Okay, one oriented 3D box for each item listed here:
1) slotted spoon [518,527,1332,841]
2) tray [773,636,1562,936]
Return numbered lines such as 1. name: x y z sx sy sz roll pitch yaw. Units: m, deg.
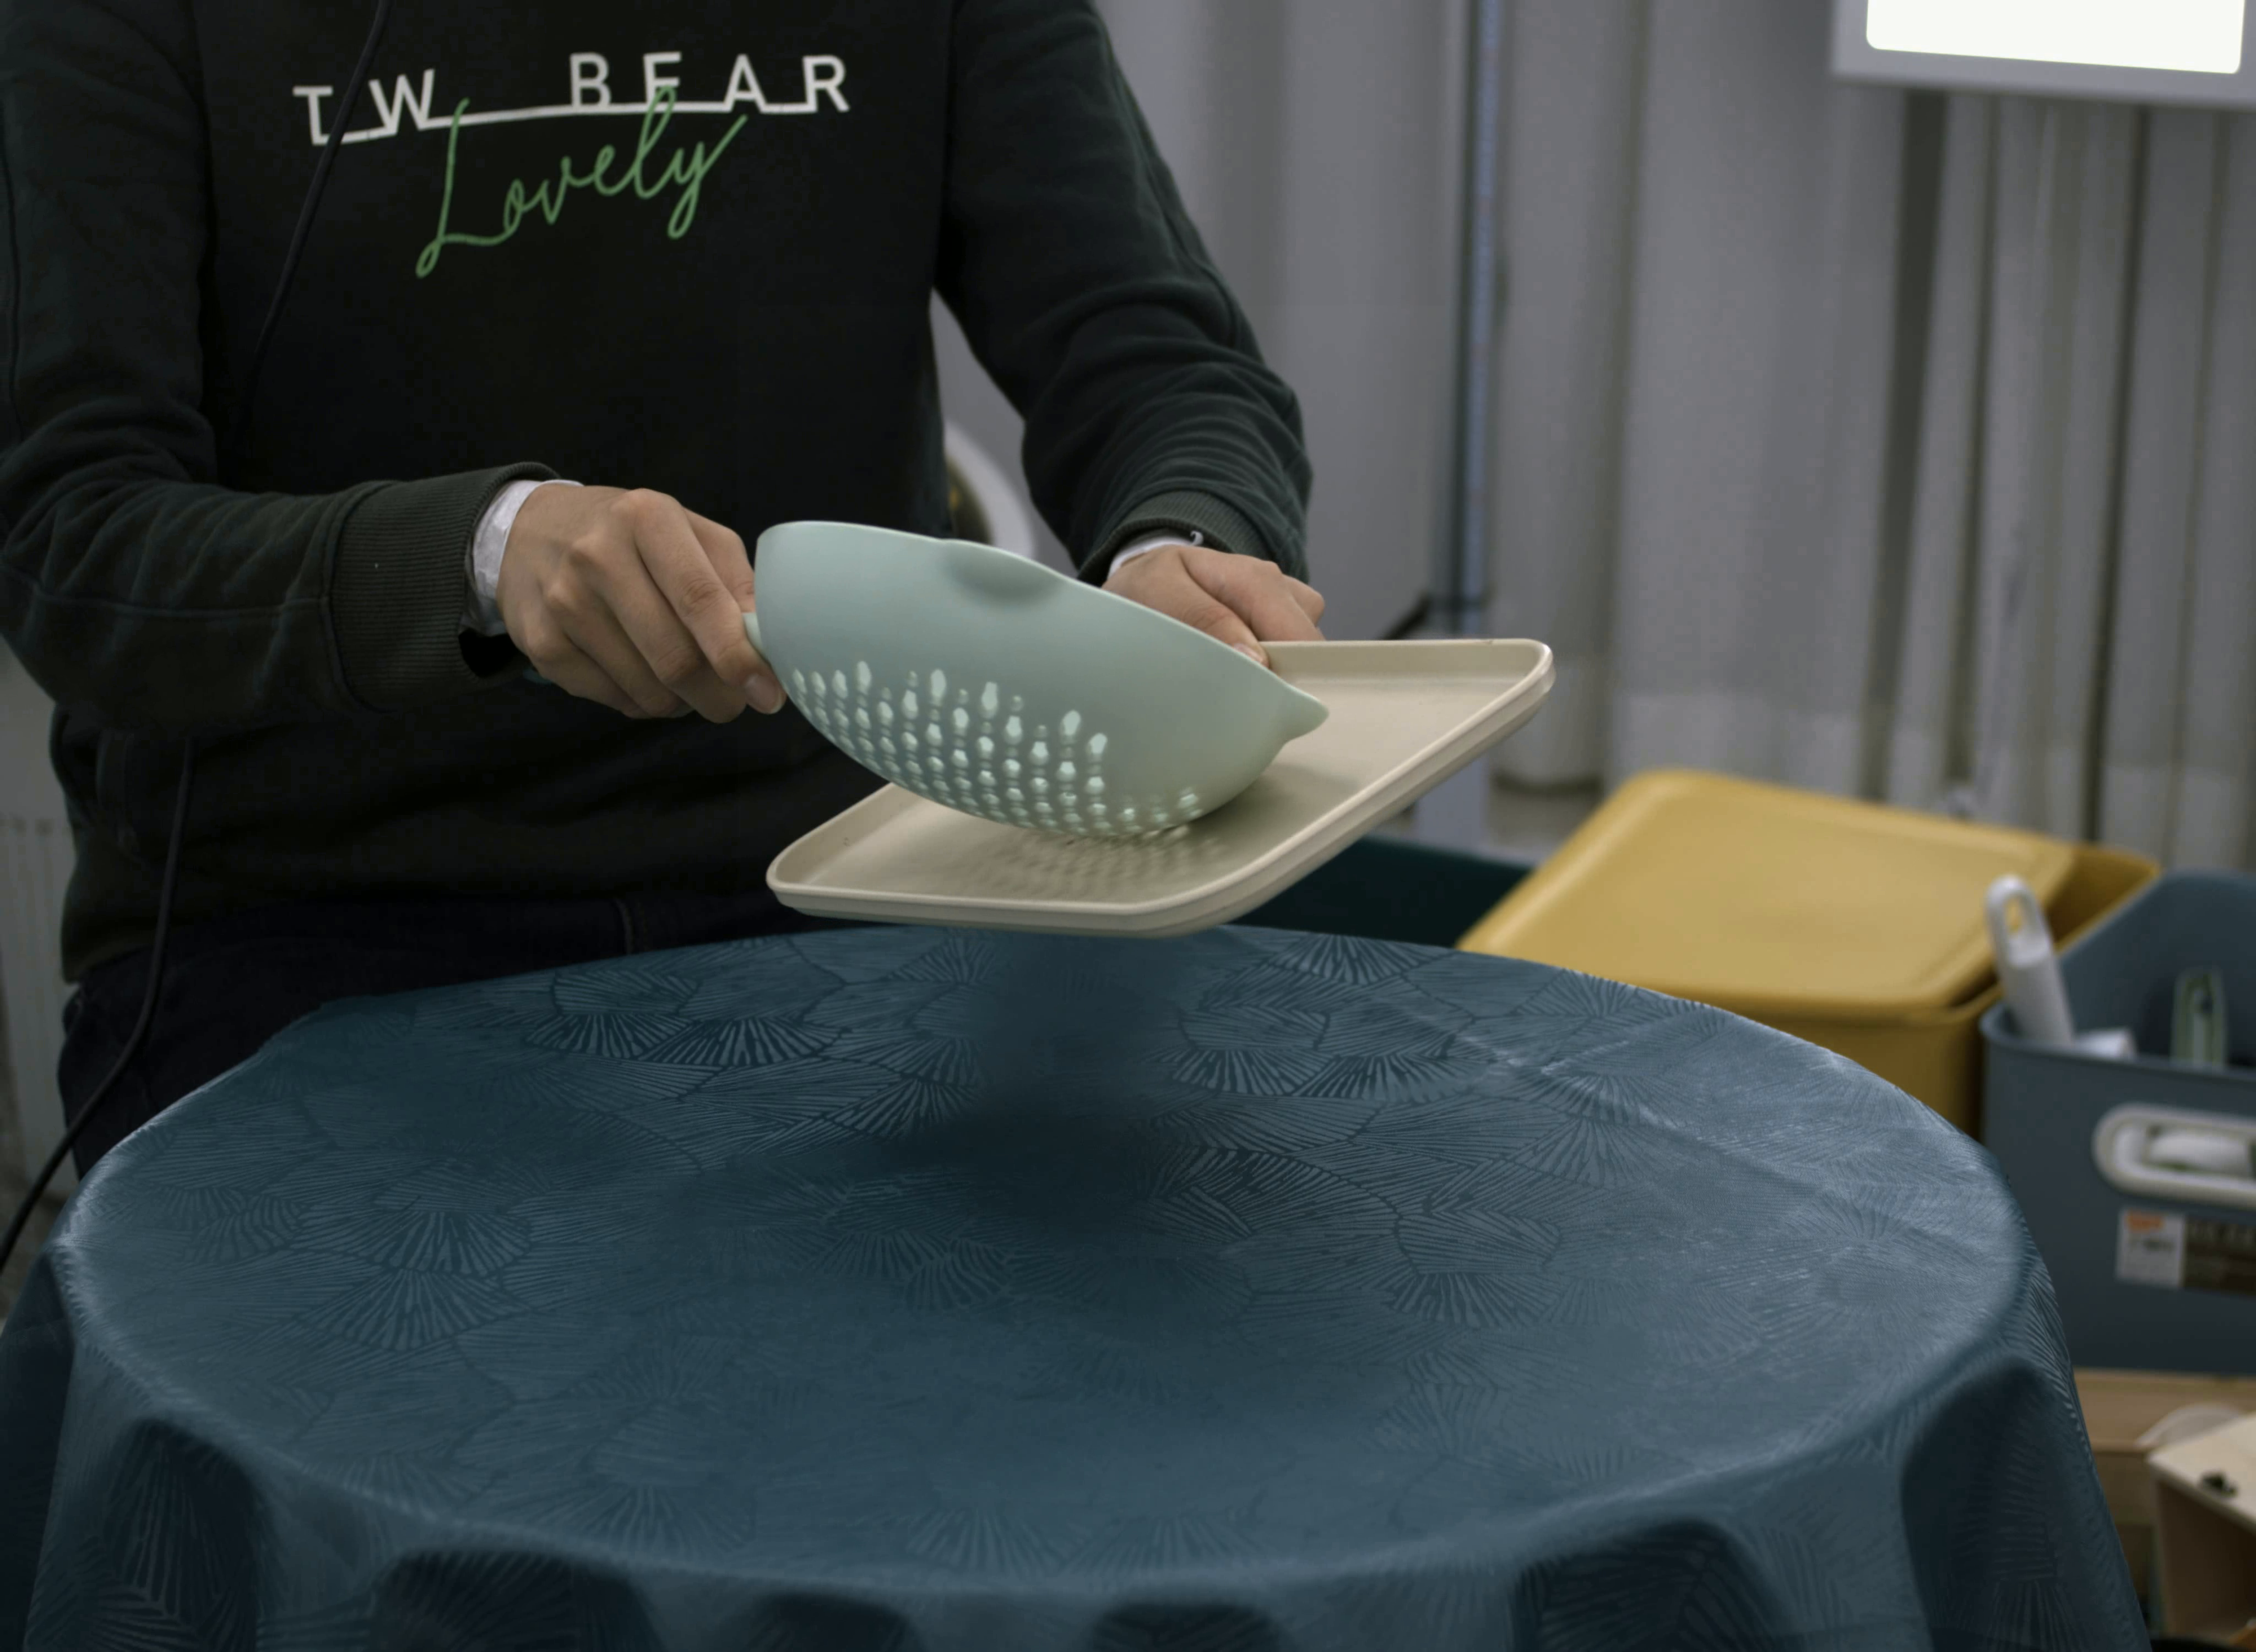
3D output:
1. slotted spoon: -0.091 -0.049 1.630 0.171 0.075 0.354 25 -5 -35
2. tray: 0.011 -0.011 1.599 0.171 0.017 0.237 -33 20 -32
